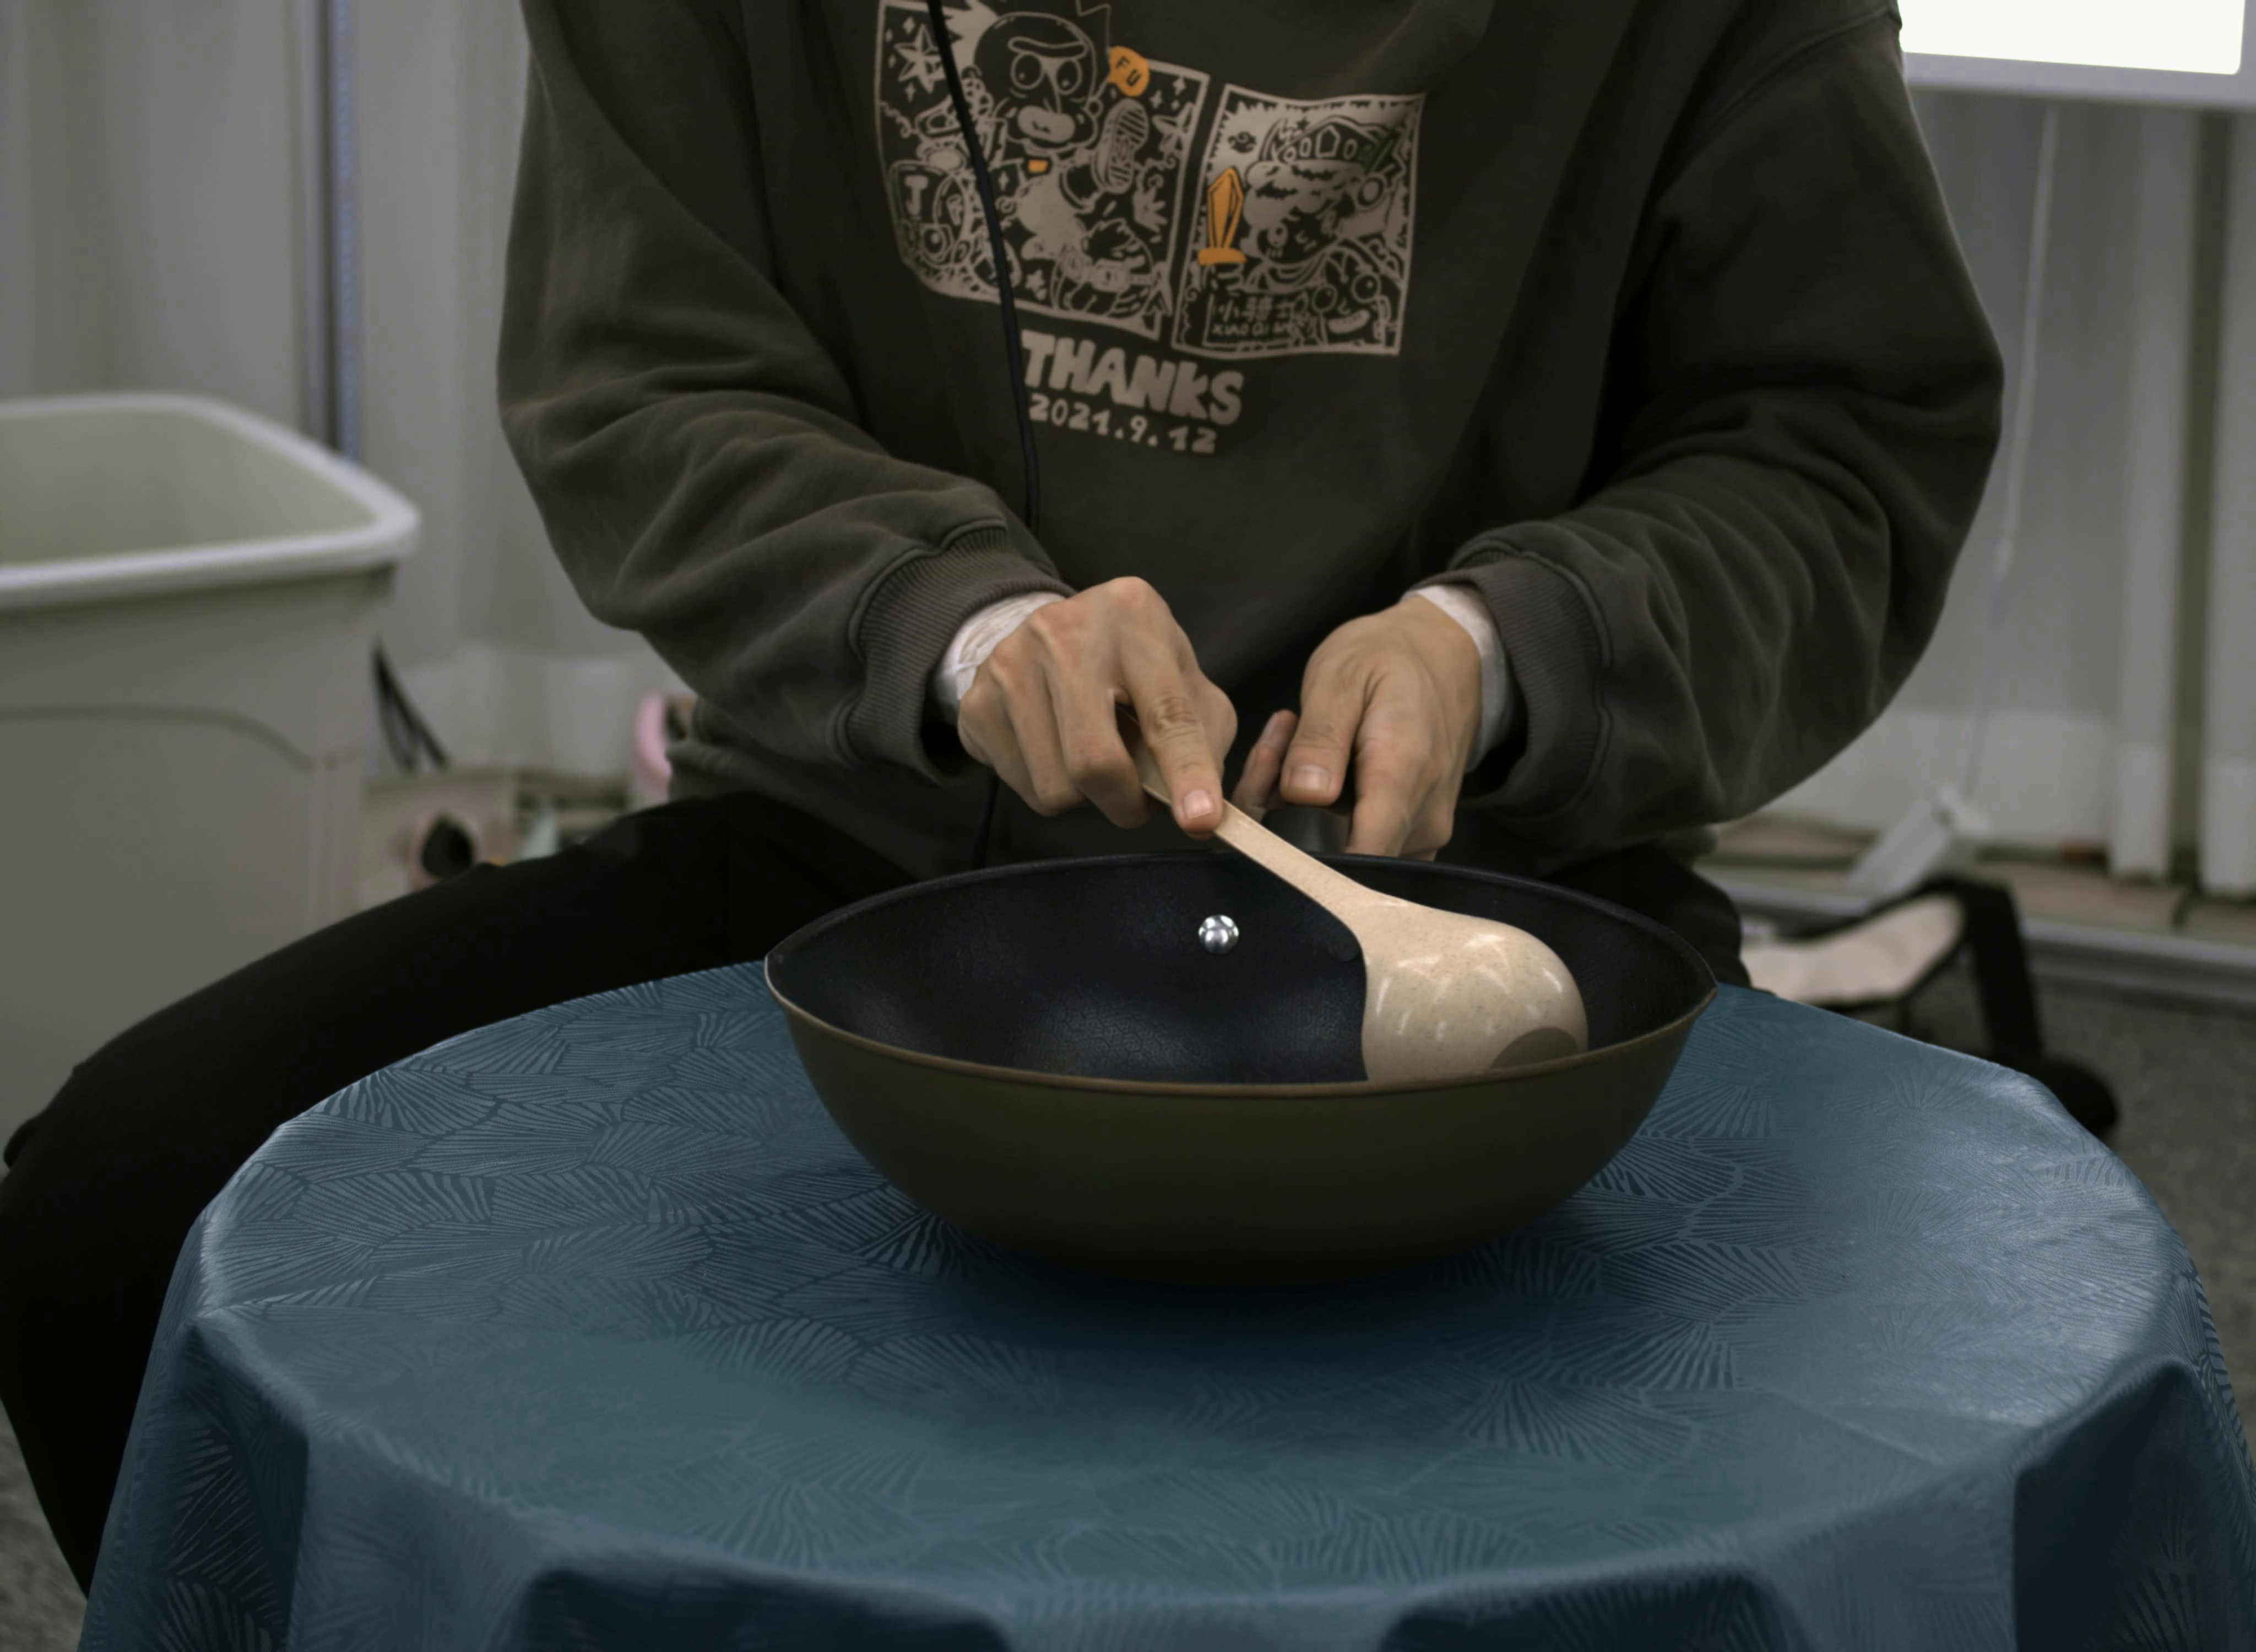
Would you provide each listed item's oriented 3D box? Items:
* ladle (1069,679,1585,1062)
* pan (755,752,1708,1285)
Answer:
[{"bbox_3d":[0.058,0.028,1.691,0.072,0.074,0.251,-36,37,-13],"label":"ladle"},{"bbox_3d":[0.043,0.058,1.679,0.286,0.087,0.462,2,13,7],"label":"pan"}]
